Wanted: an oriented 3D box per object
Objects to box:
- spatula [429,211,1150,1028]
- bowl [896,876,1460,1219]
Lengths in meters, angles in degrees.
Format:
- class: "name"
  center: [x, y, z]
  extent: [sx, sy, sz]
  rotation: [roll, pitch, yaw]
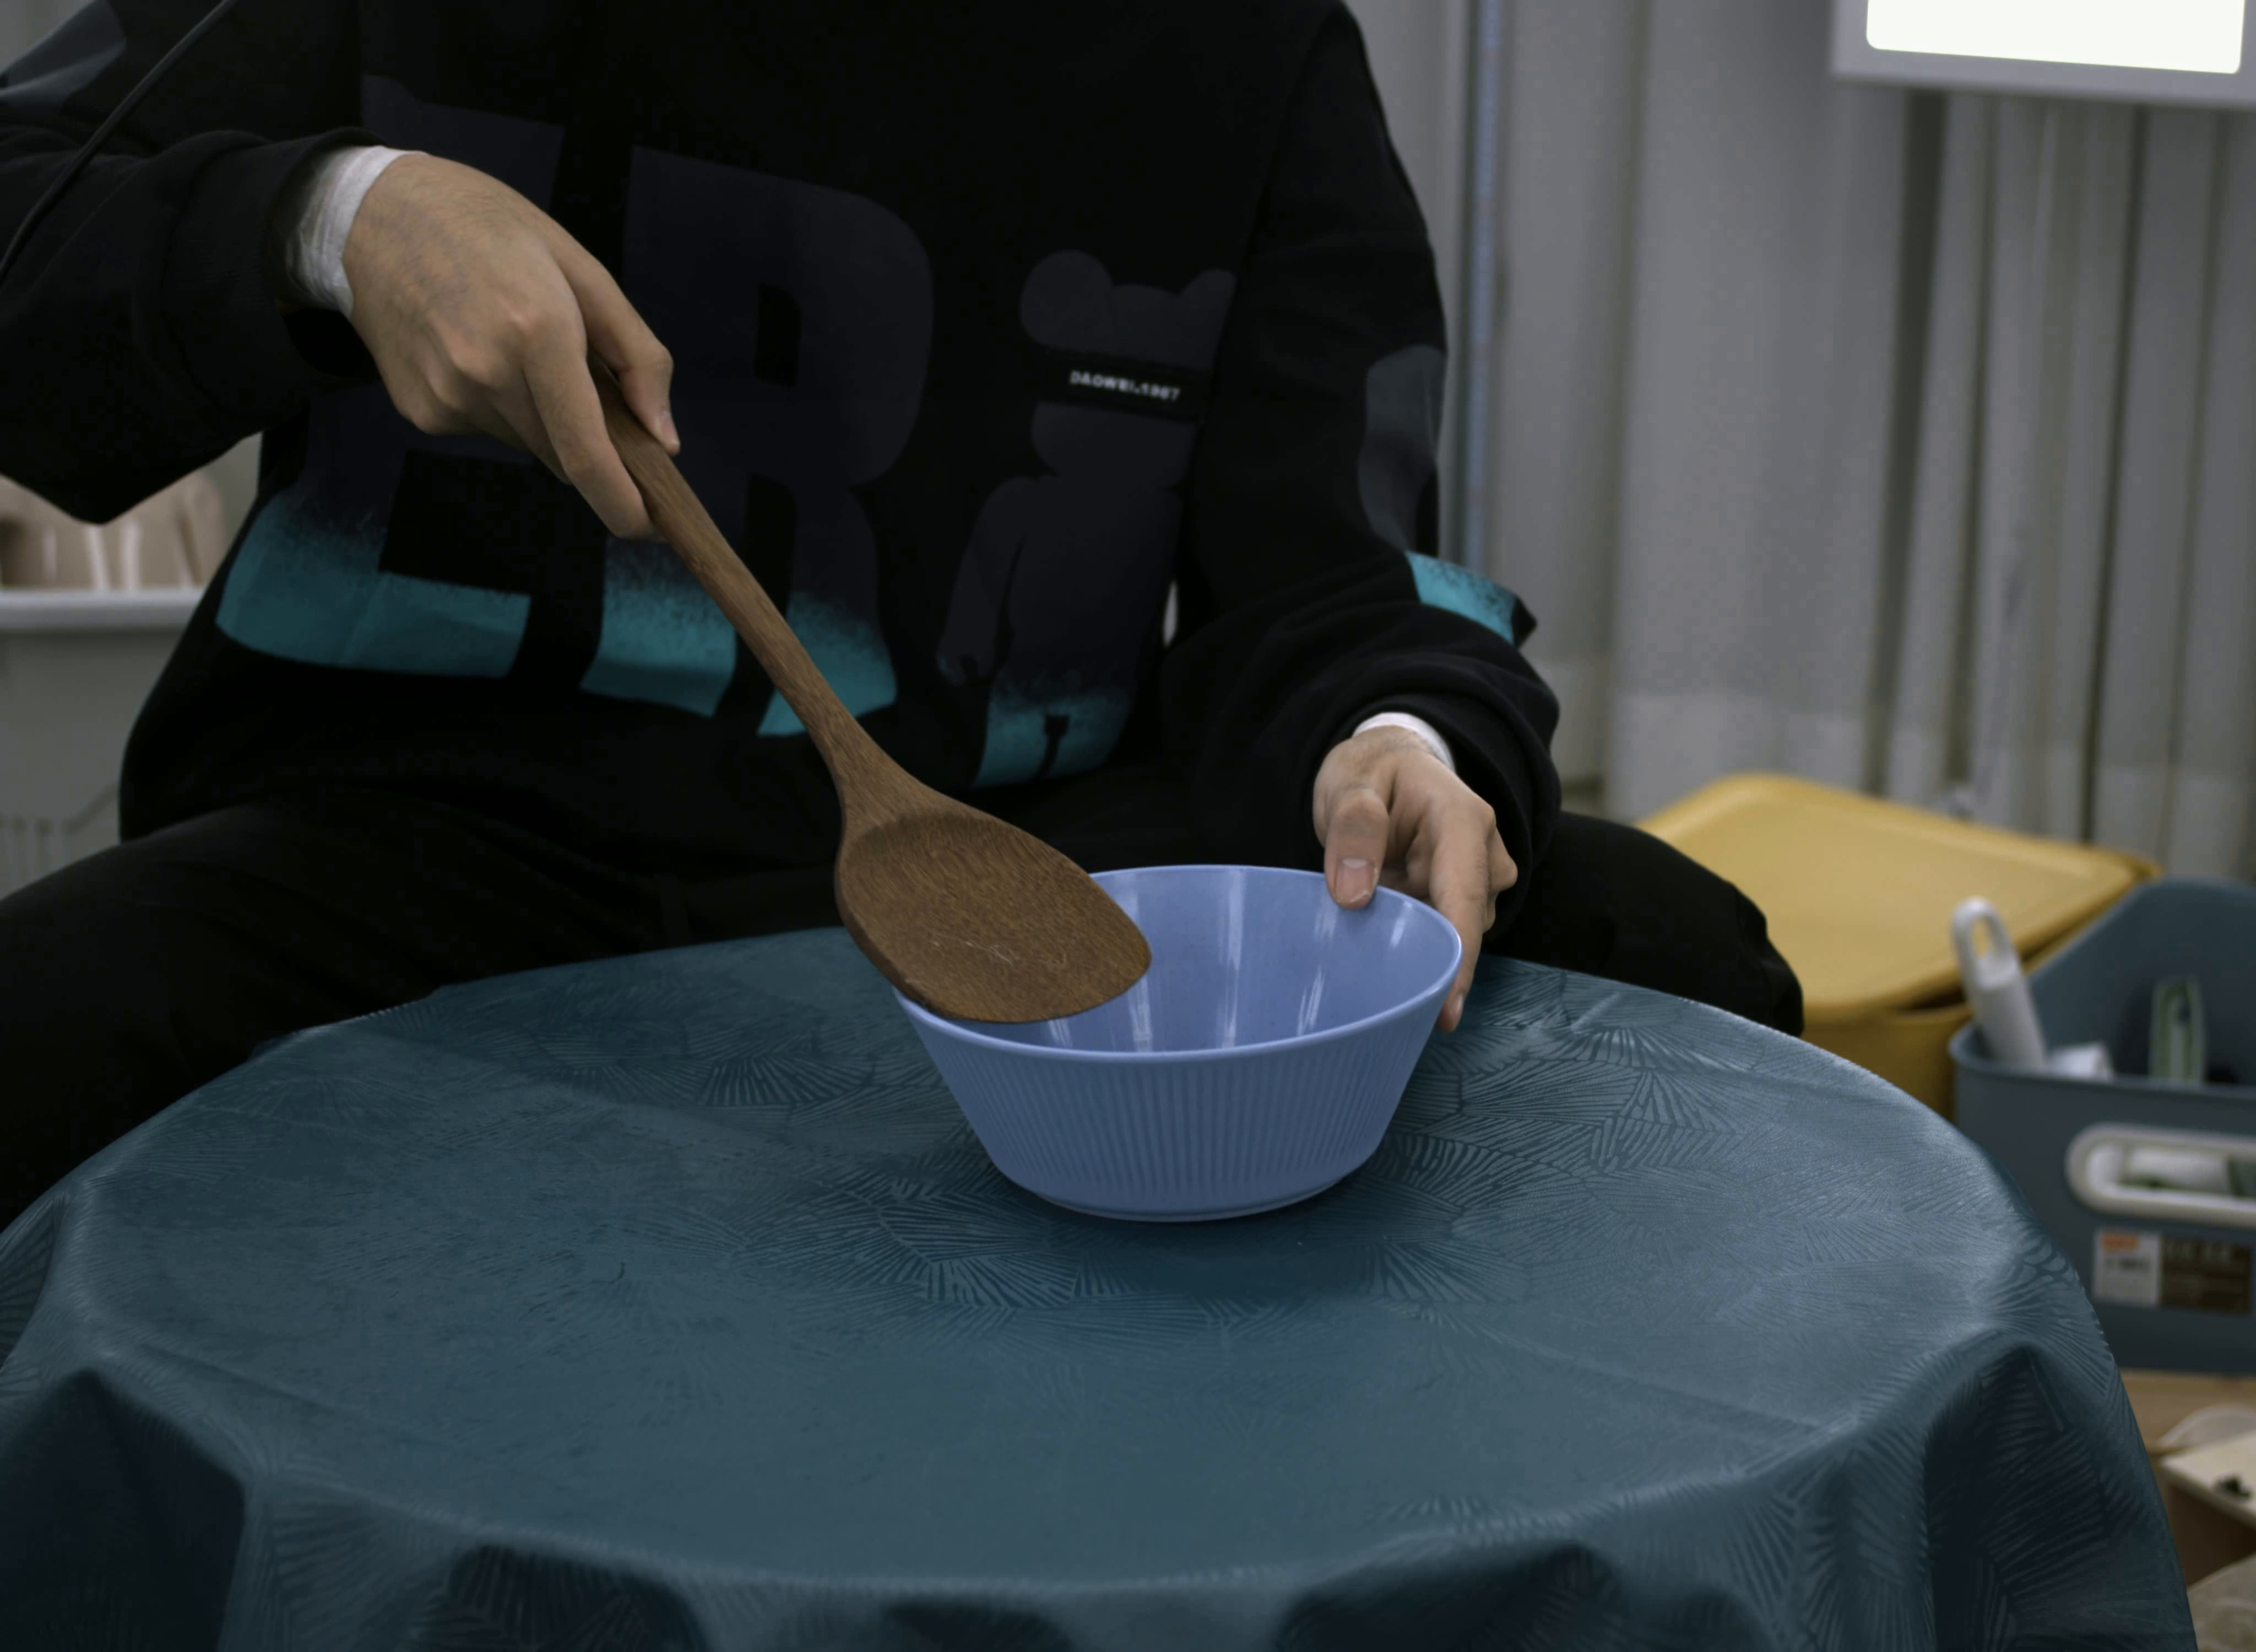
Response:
- class: "spatula"
  center: [-0.126, -0.075, 1.699]
  extent: [0.096, 0.016, 0.382]
  rotation: [-14, 56, -40]
- class: "bowl"
  center: [0.016, 0.071, 1.632]
  extent: [0.175, 0.071, 0.175]
  rotation: [-1, 17, 1]
